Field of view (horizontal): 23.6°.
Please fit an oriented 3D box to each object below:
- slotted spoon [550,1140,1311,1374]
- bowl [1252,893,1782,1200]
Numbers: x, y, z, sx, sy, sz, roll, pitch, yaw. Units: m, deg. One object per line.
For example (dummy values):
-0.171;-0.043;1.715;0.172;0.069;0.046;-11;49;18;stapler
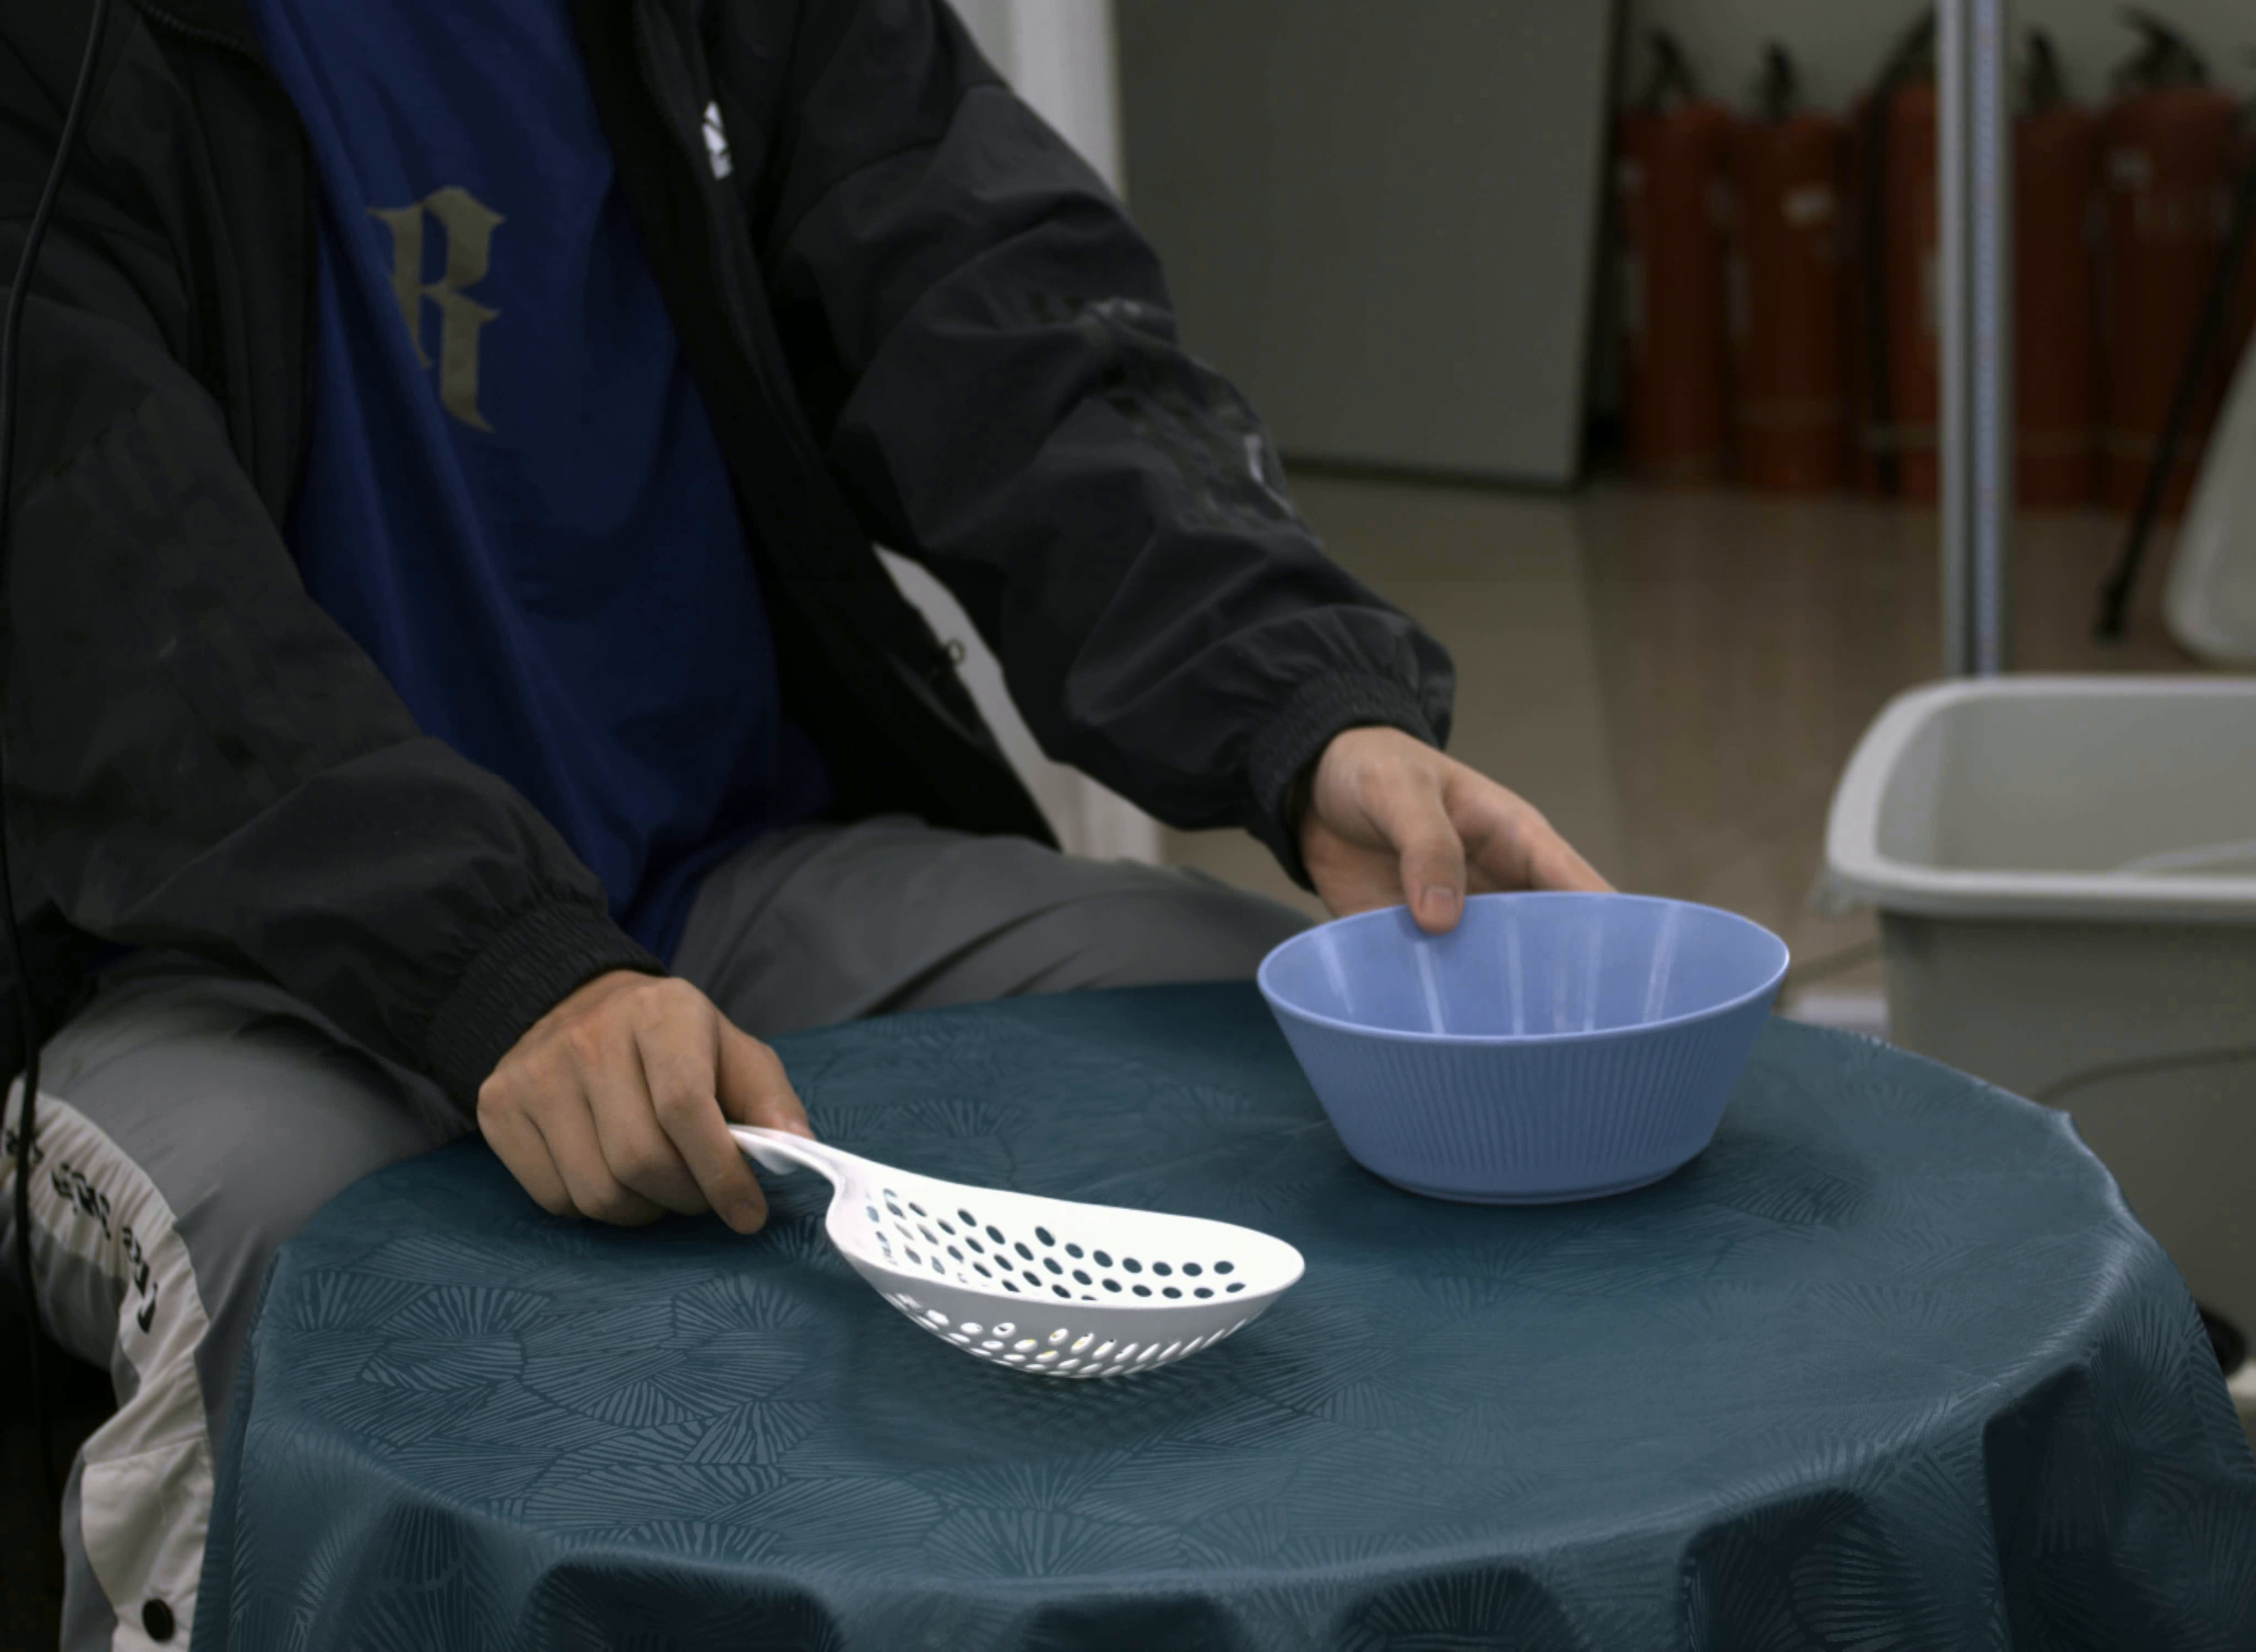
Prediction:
-0.080;0.122;1.686;0.133;0.051;0.351;-6;13;-35;slotted spoon
0.128;0.074;1.772;0.174;0.071;0.176;-3;14;0;bowl
